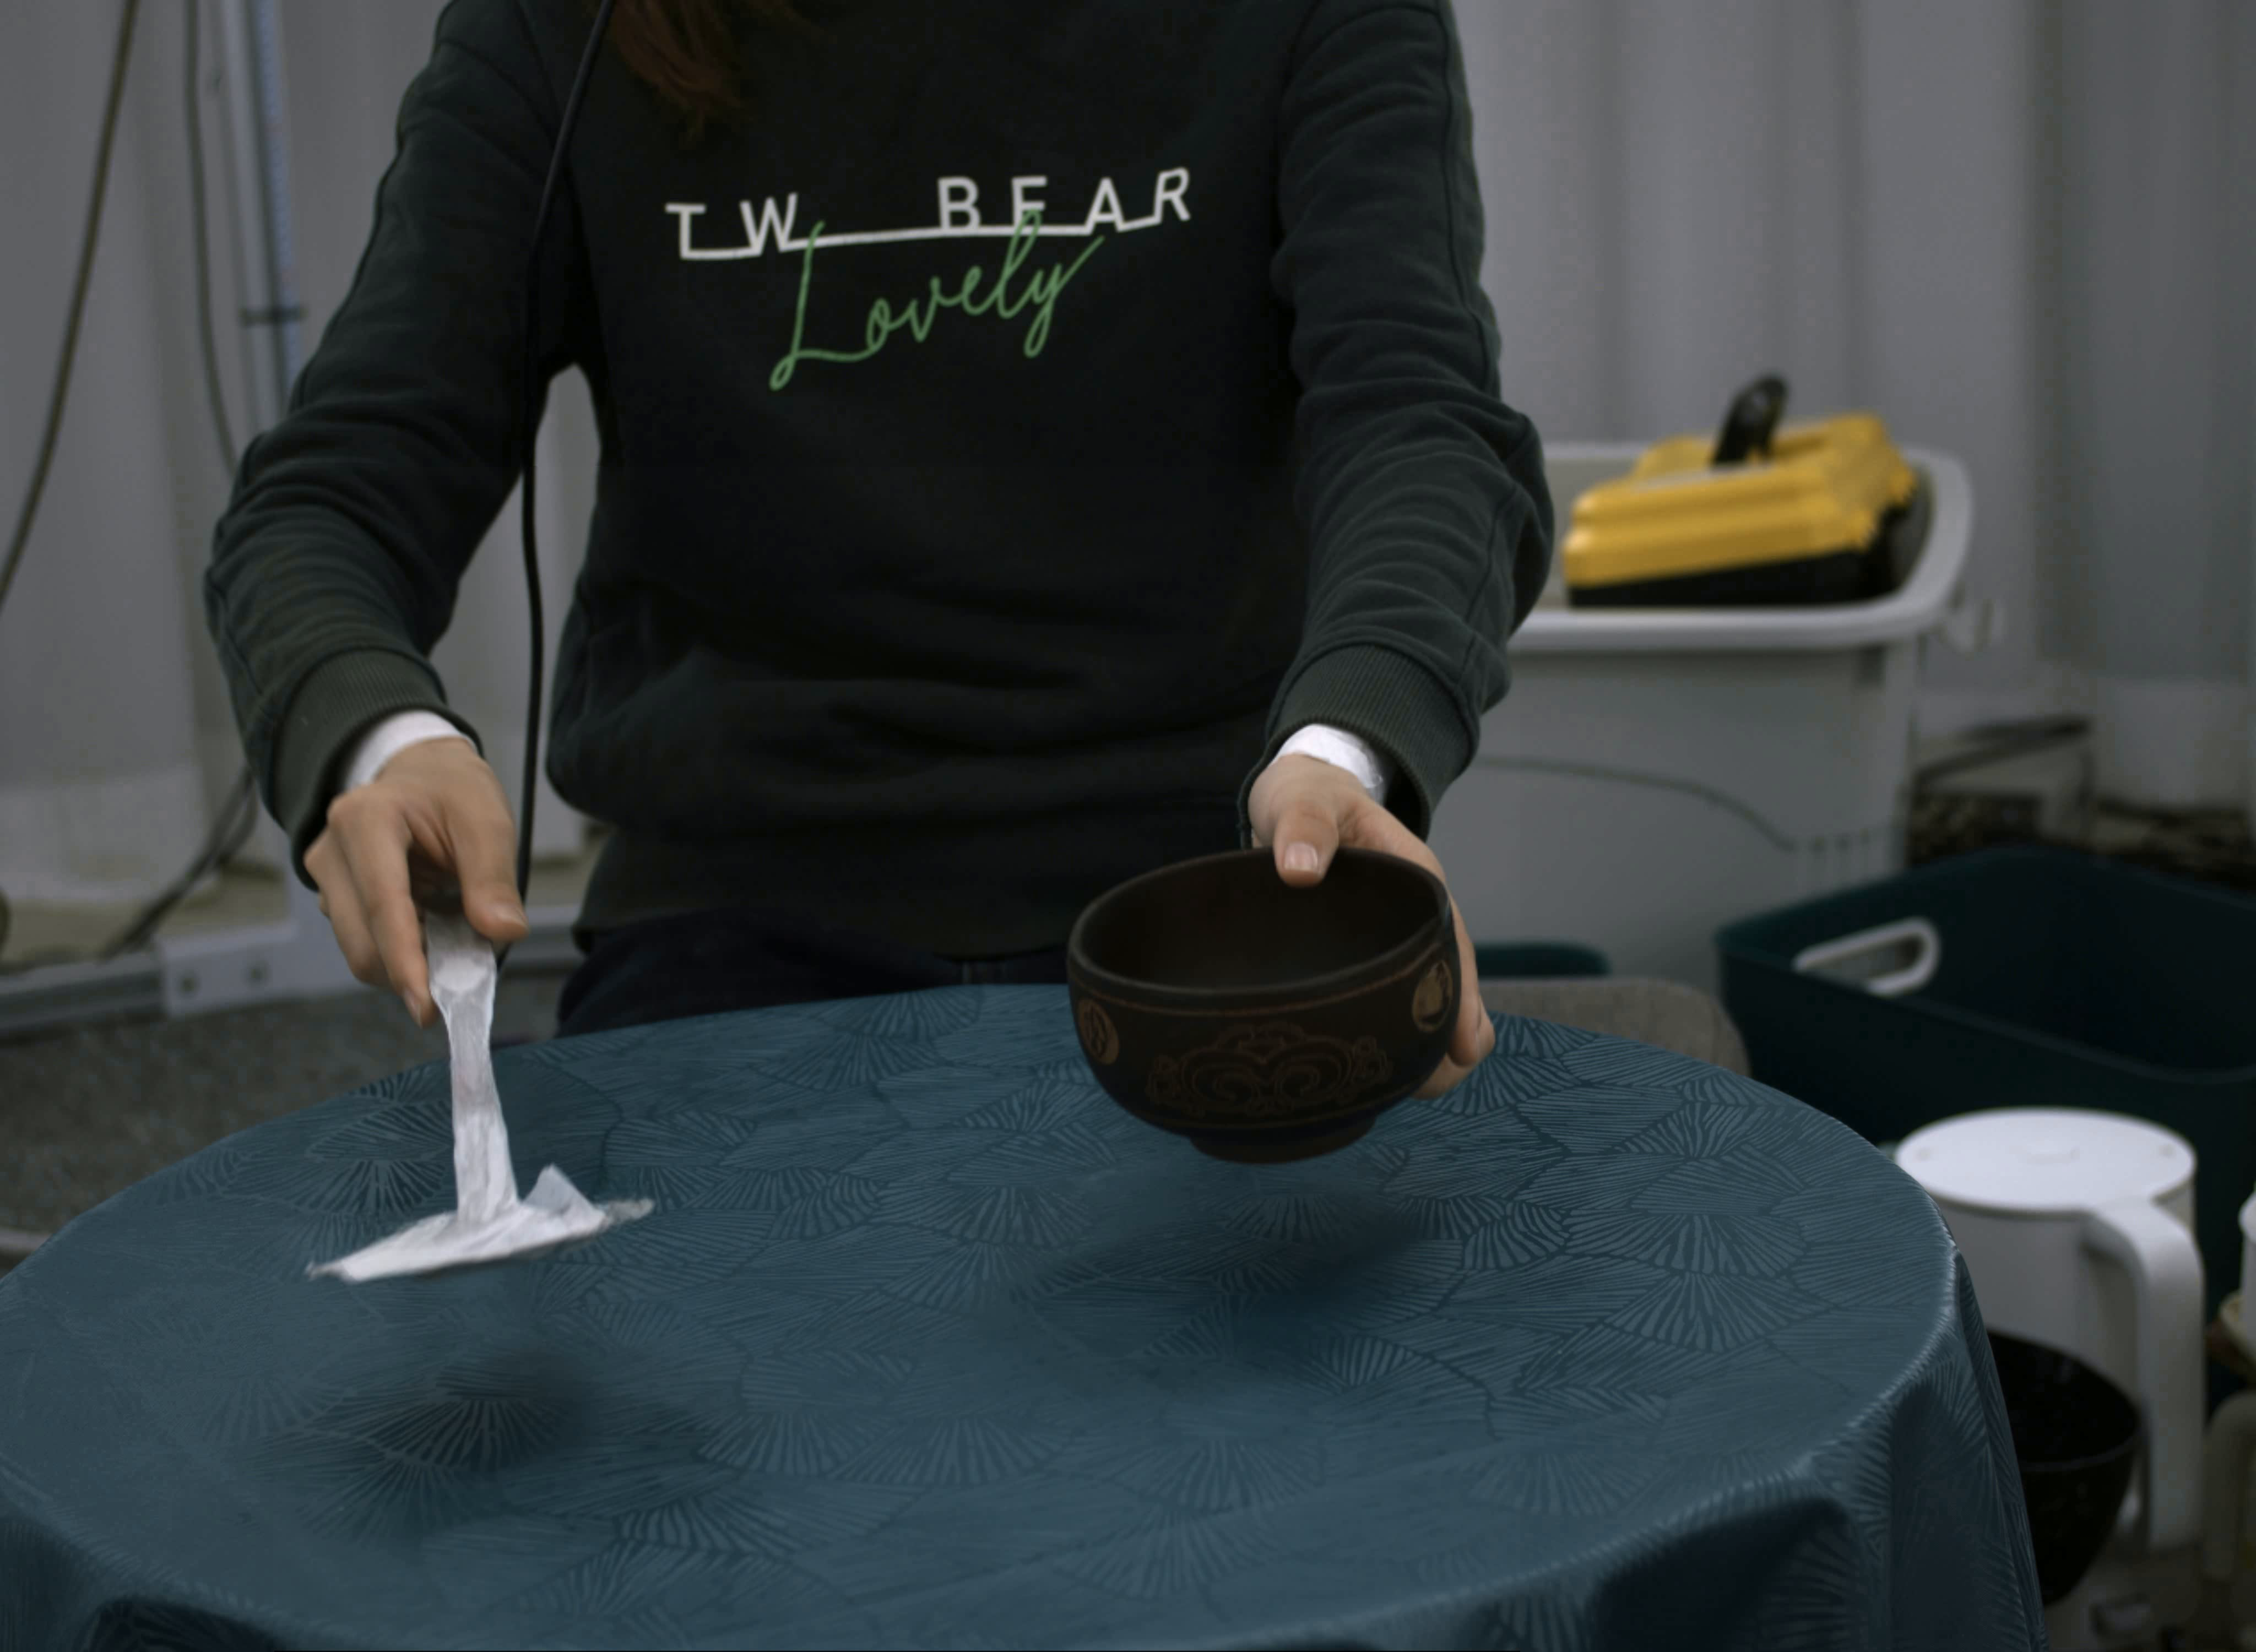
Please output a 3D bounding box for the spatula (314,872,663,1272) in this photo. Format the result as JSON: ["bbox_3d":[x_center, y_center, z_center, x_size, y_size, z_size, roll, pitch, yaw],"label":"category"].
[{"bbox_3d":[-0.196,0.066,1.659,0.098,0.044,0.368,-12,22,-4],"label":"spatula"}]

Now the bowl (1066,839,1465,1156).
[{"bbox_3d":[0.042,0.056,1.627,0.117,0.069,0.119,-5,19,2],"label":"bowl"}]
